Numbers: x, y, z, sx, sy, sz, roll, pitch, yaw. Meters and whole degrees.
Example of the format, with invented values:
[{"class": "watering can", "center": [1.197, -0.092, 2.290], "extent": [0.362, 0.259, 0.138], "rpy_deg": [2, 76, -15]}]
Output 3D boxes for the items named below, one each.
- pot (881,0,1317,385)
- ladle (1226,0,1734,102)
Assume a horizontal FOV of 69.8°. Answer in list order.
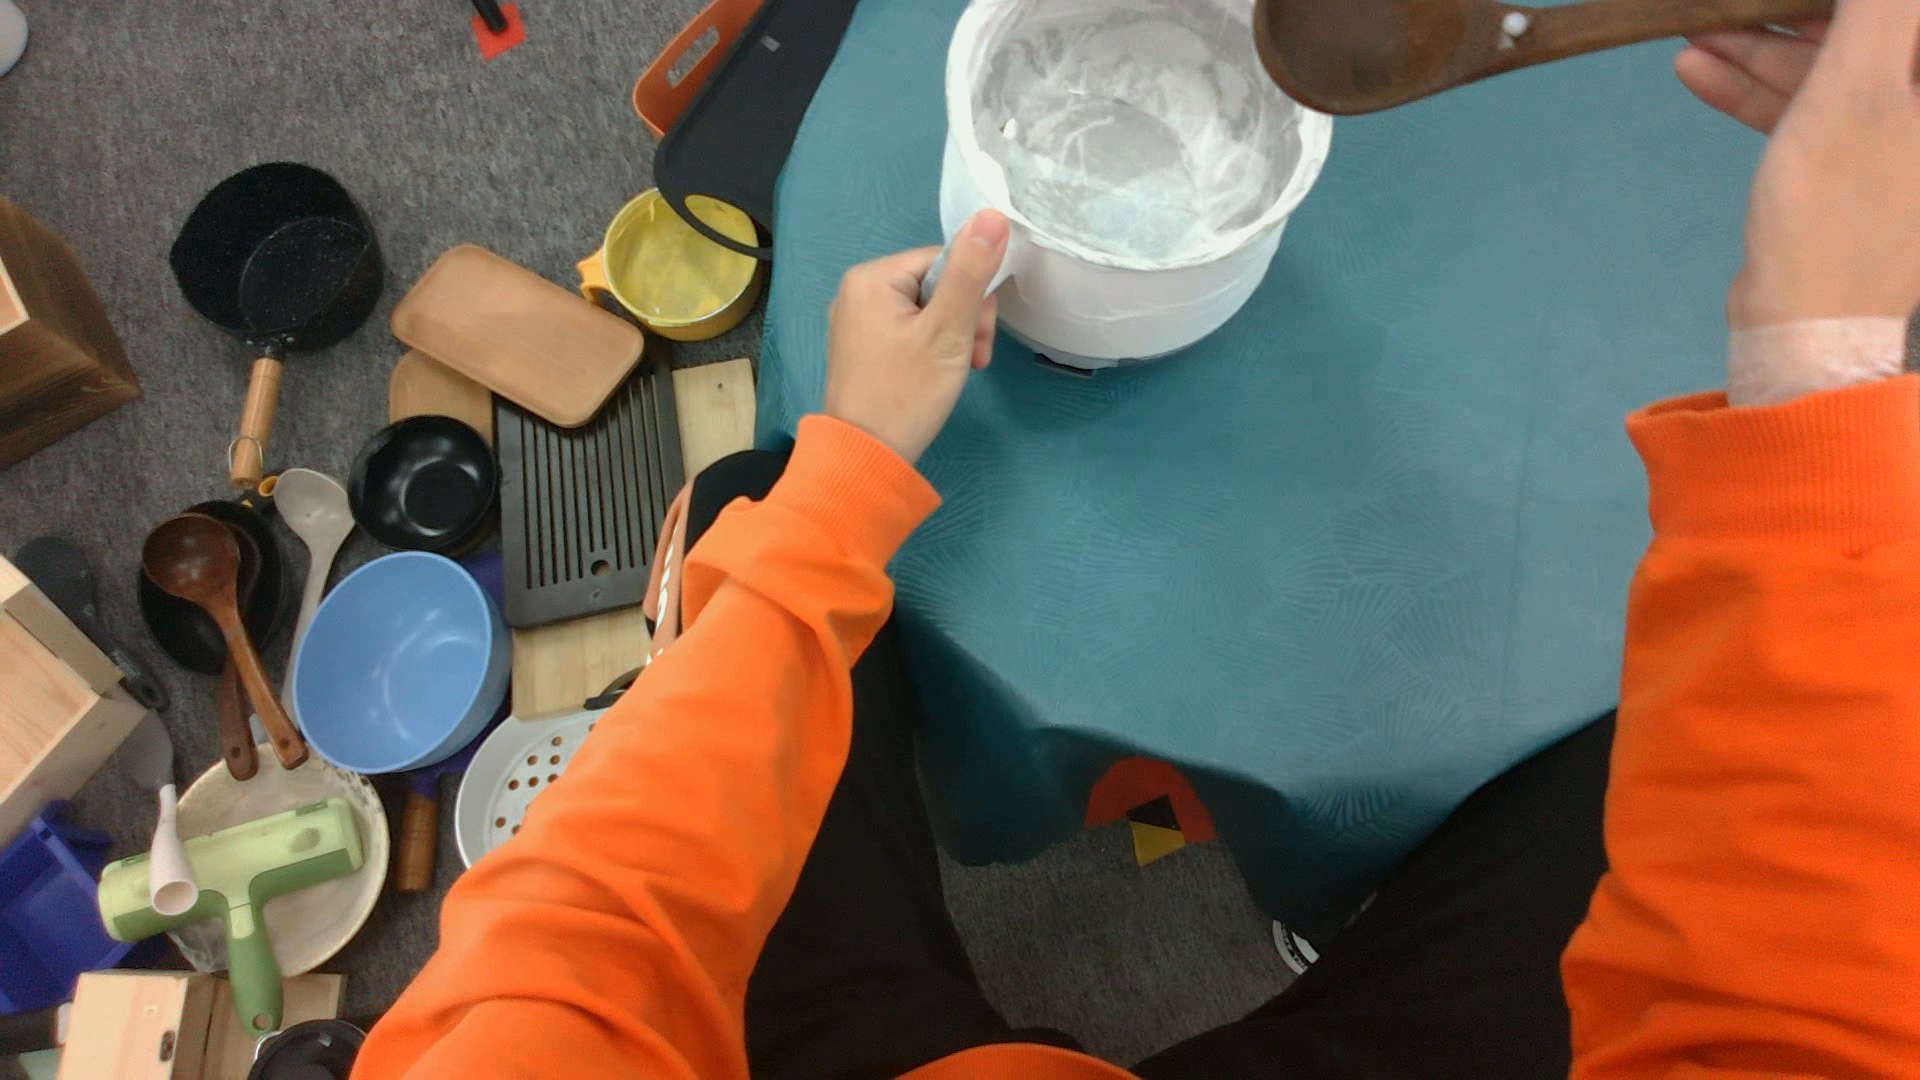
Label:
[{"class": "pot", "center": [0.053, -0.175, 0.682], "extent": [0.179, 0.136, 0.234], "rpy_deg": [42, 76, 9]}, {"class": "ladle", "center": [0.215, -0.189, 0.451], "extent": [0.273, 0.071, 0.076], "rpy_deg": [12, 85, 44]}]
